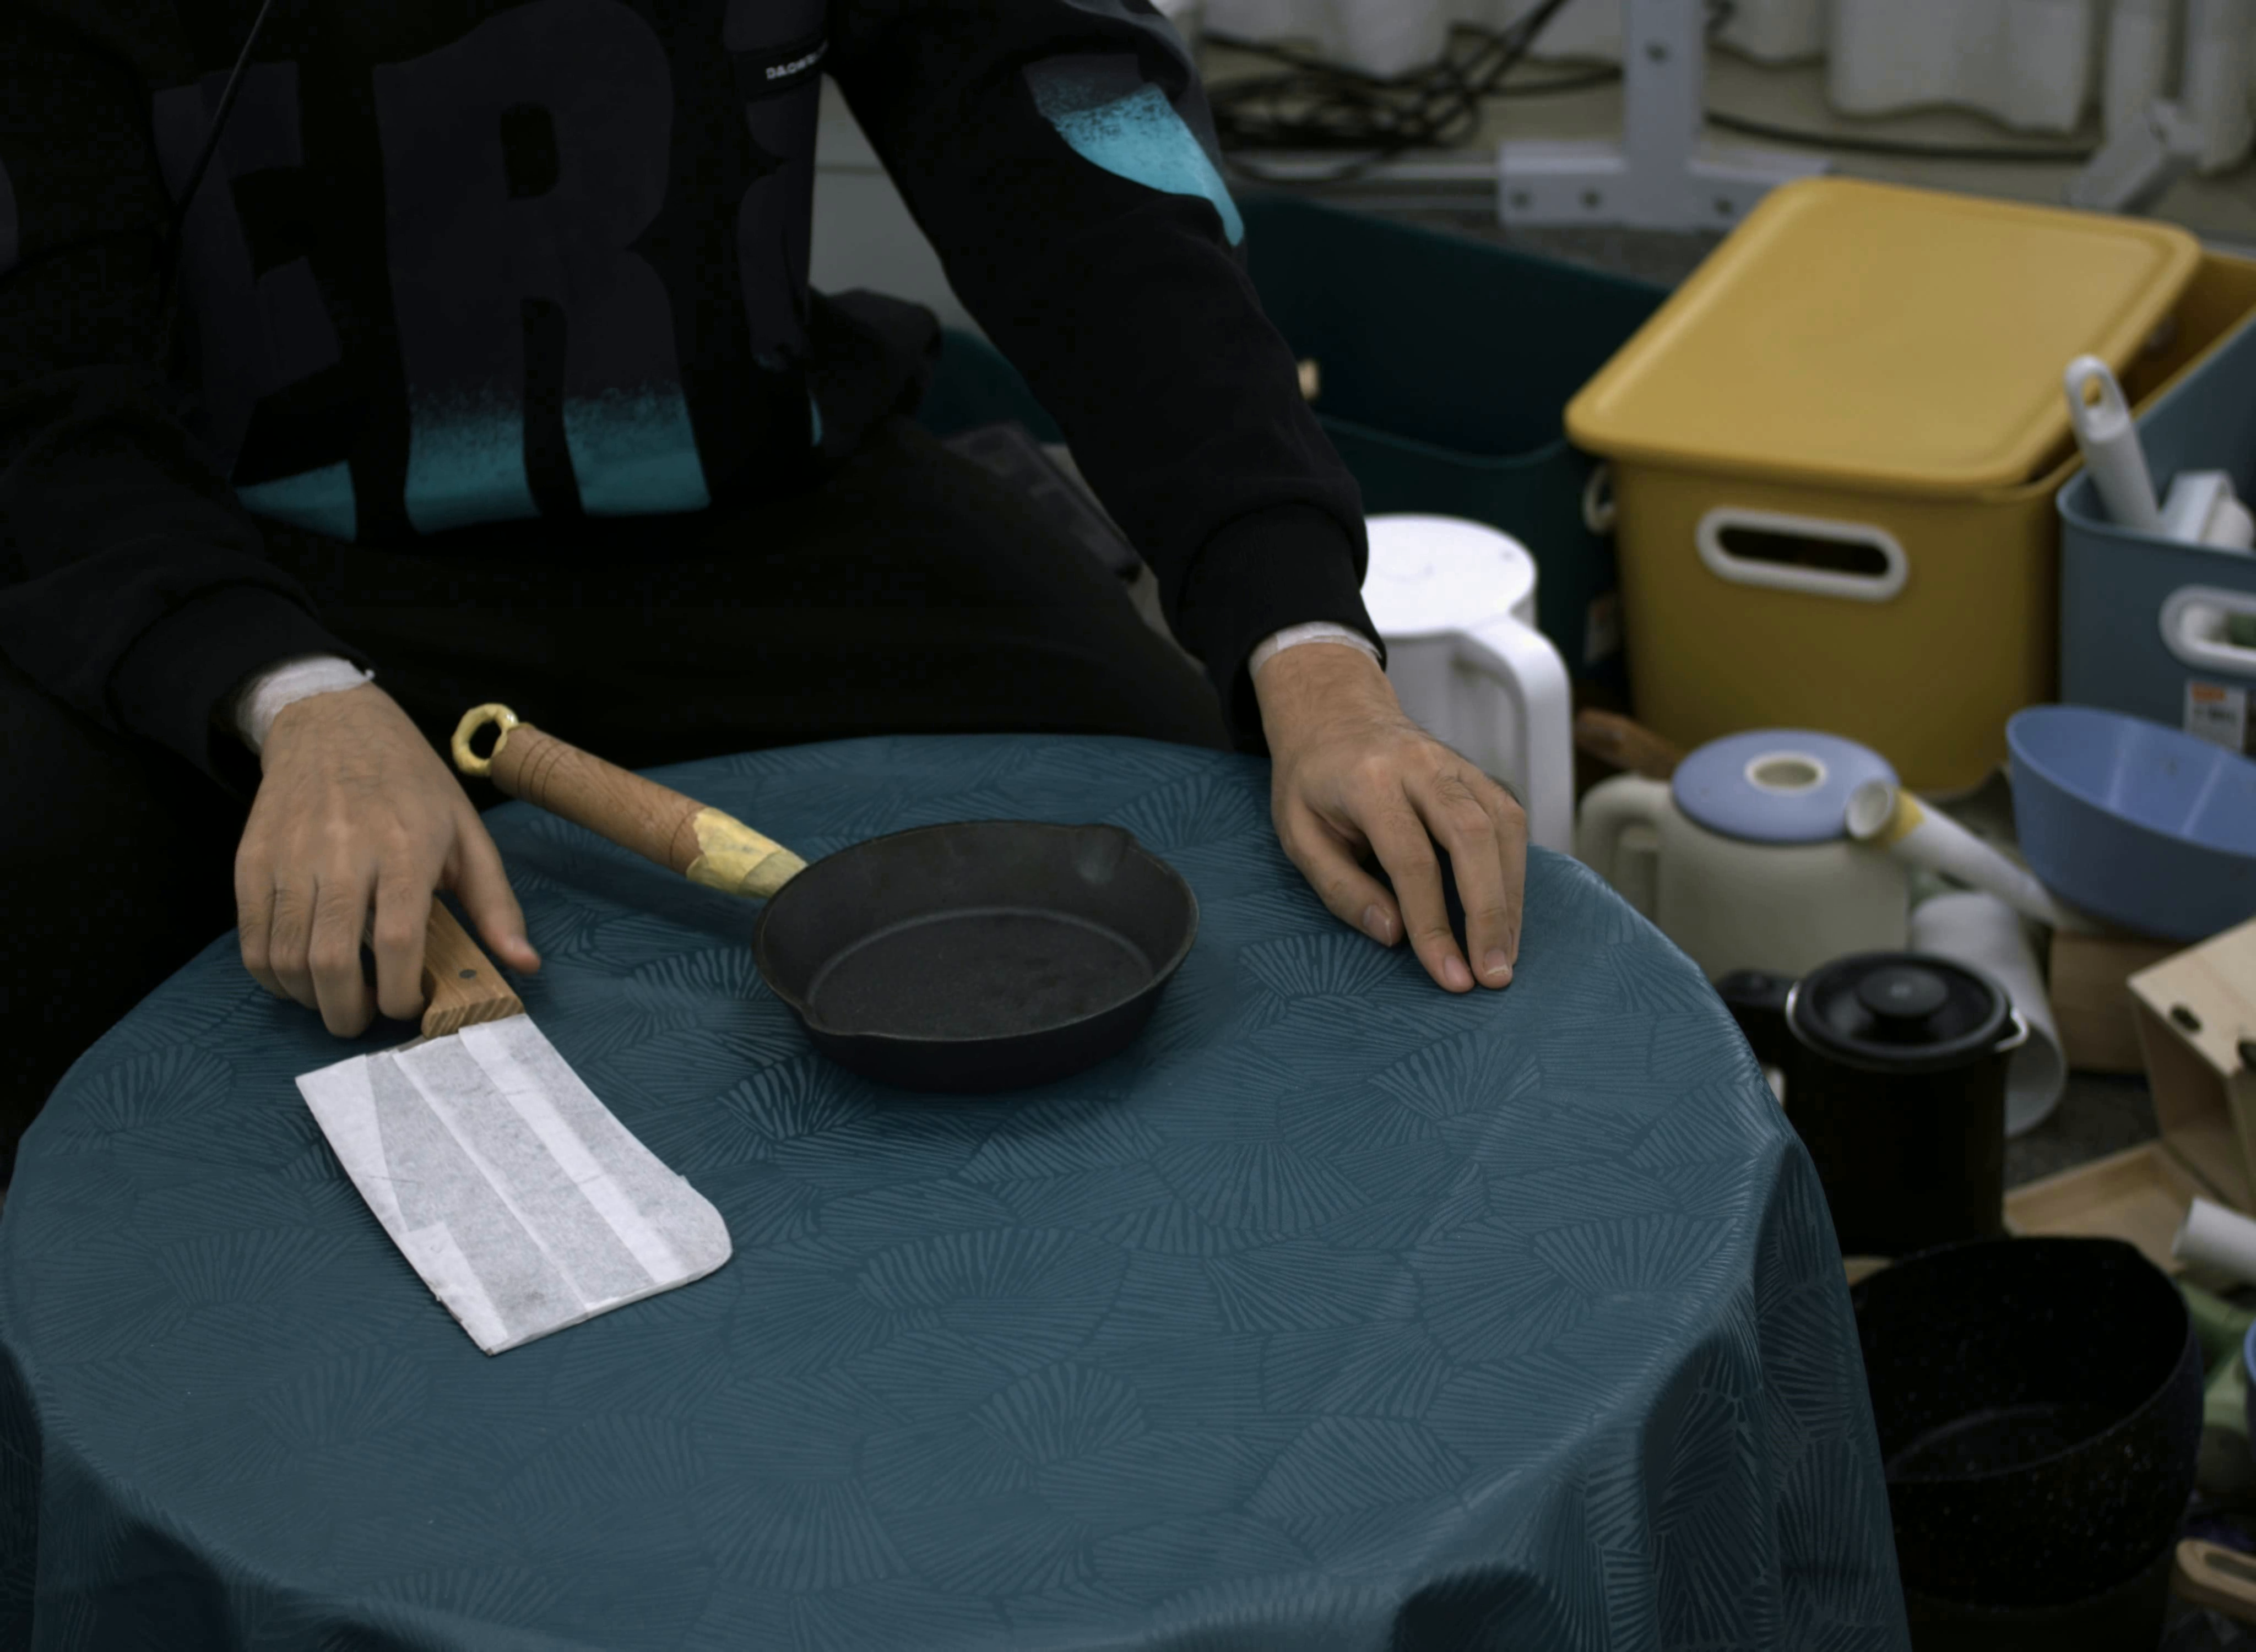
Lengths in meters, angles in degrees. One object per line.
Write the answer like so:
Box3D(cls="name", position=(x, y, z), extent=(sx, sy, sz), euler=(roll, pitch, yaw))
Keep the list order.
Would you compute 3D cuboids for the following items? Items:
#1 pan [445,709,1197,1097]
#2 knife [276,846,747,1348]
Box3D(cls="pan", position=(-0.120, 0.021, 2.014), extent=(0.323, 0.049, 0.171), euler=(19, 35, 33))
Box3D(cls="knife", position=(-0.227, 0.088, 1.930), extent=(0.114, 0.021, 0.318), euler=(-14, 32, -19))
